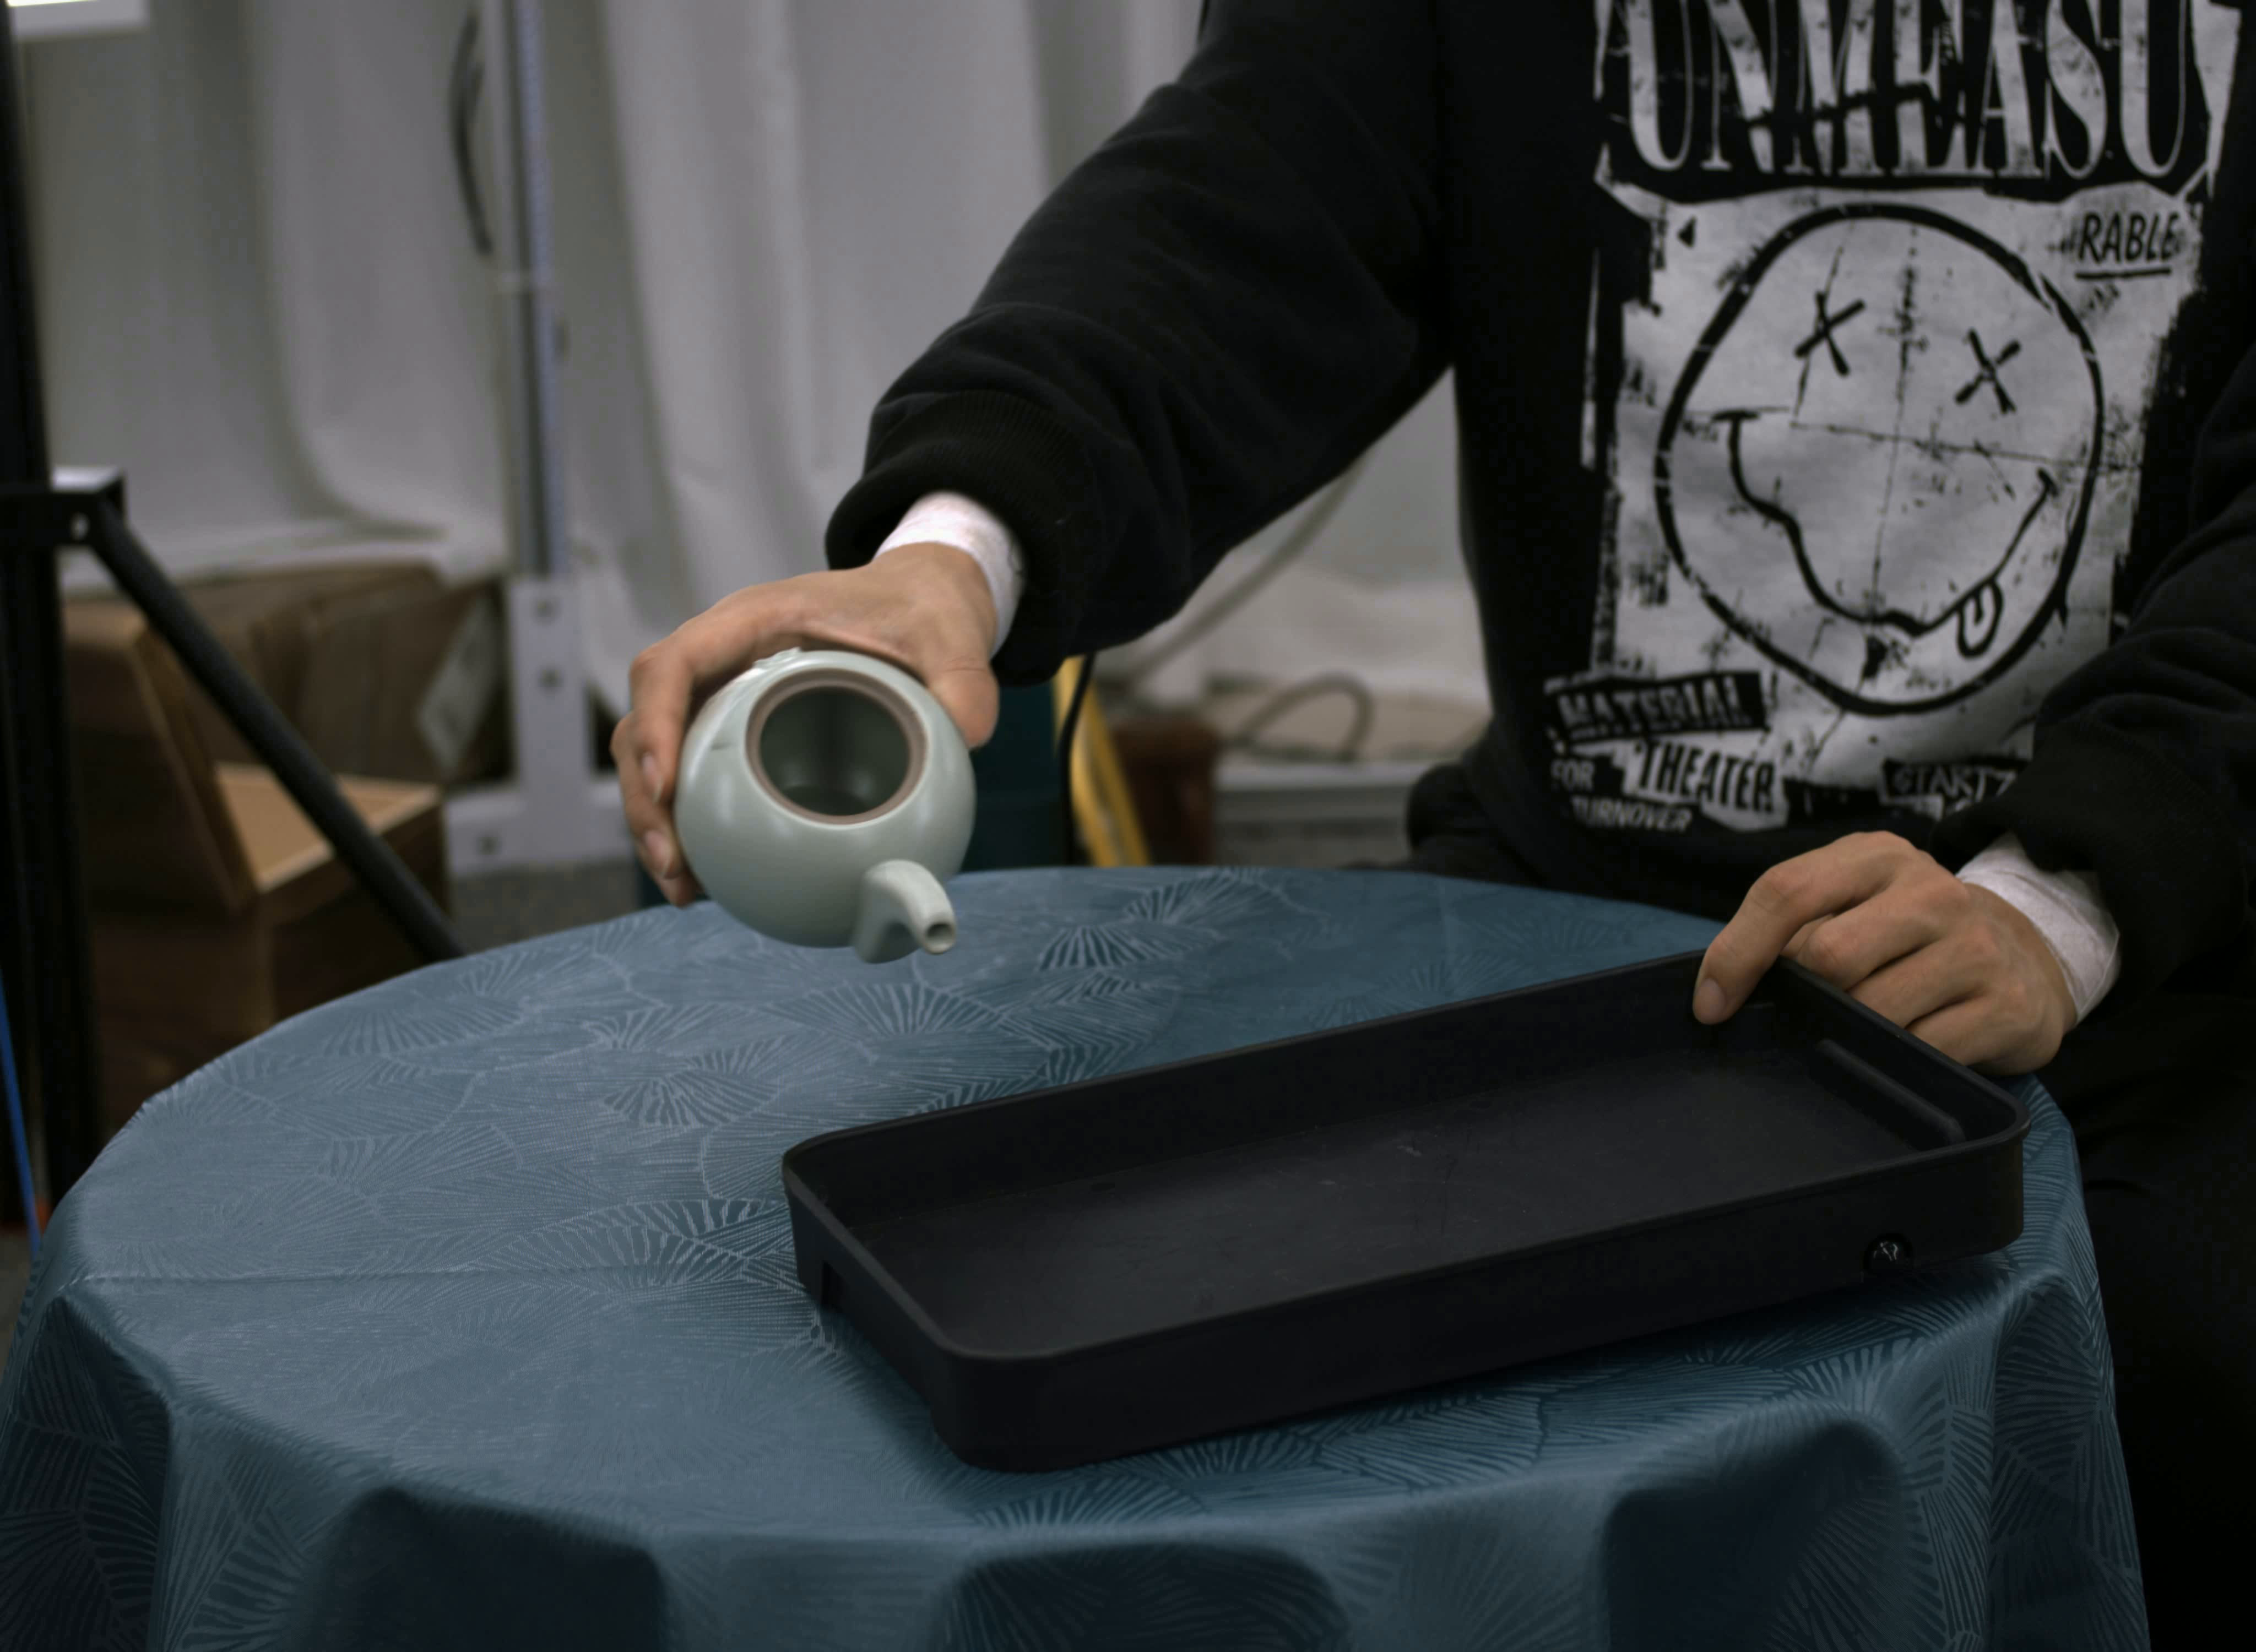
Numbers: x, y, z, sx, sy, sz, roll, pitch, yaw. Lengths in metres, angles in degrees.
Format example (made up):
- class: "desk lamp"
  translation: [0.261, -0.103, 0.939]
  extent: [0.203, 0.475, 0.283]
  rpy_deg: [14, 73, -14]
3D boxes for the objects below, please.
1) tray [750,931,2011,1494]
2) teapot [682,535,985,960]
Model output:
- class: "tray"
  translation: [0.069, 0.101, 1.464]
  extent: [0.312, 0.037, 0.188]
  rpy_deg: [-13, 20, -18]
- class: "teapot"
  translation: [-0.085, -0.010, 1.543]
  extent: [0.087, 0.146, 0.075]
  rpy_deg: [-18, -24, -19]
